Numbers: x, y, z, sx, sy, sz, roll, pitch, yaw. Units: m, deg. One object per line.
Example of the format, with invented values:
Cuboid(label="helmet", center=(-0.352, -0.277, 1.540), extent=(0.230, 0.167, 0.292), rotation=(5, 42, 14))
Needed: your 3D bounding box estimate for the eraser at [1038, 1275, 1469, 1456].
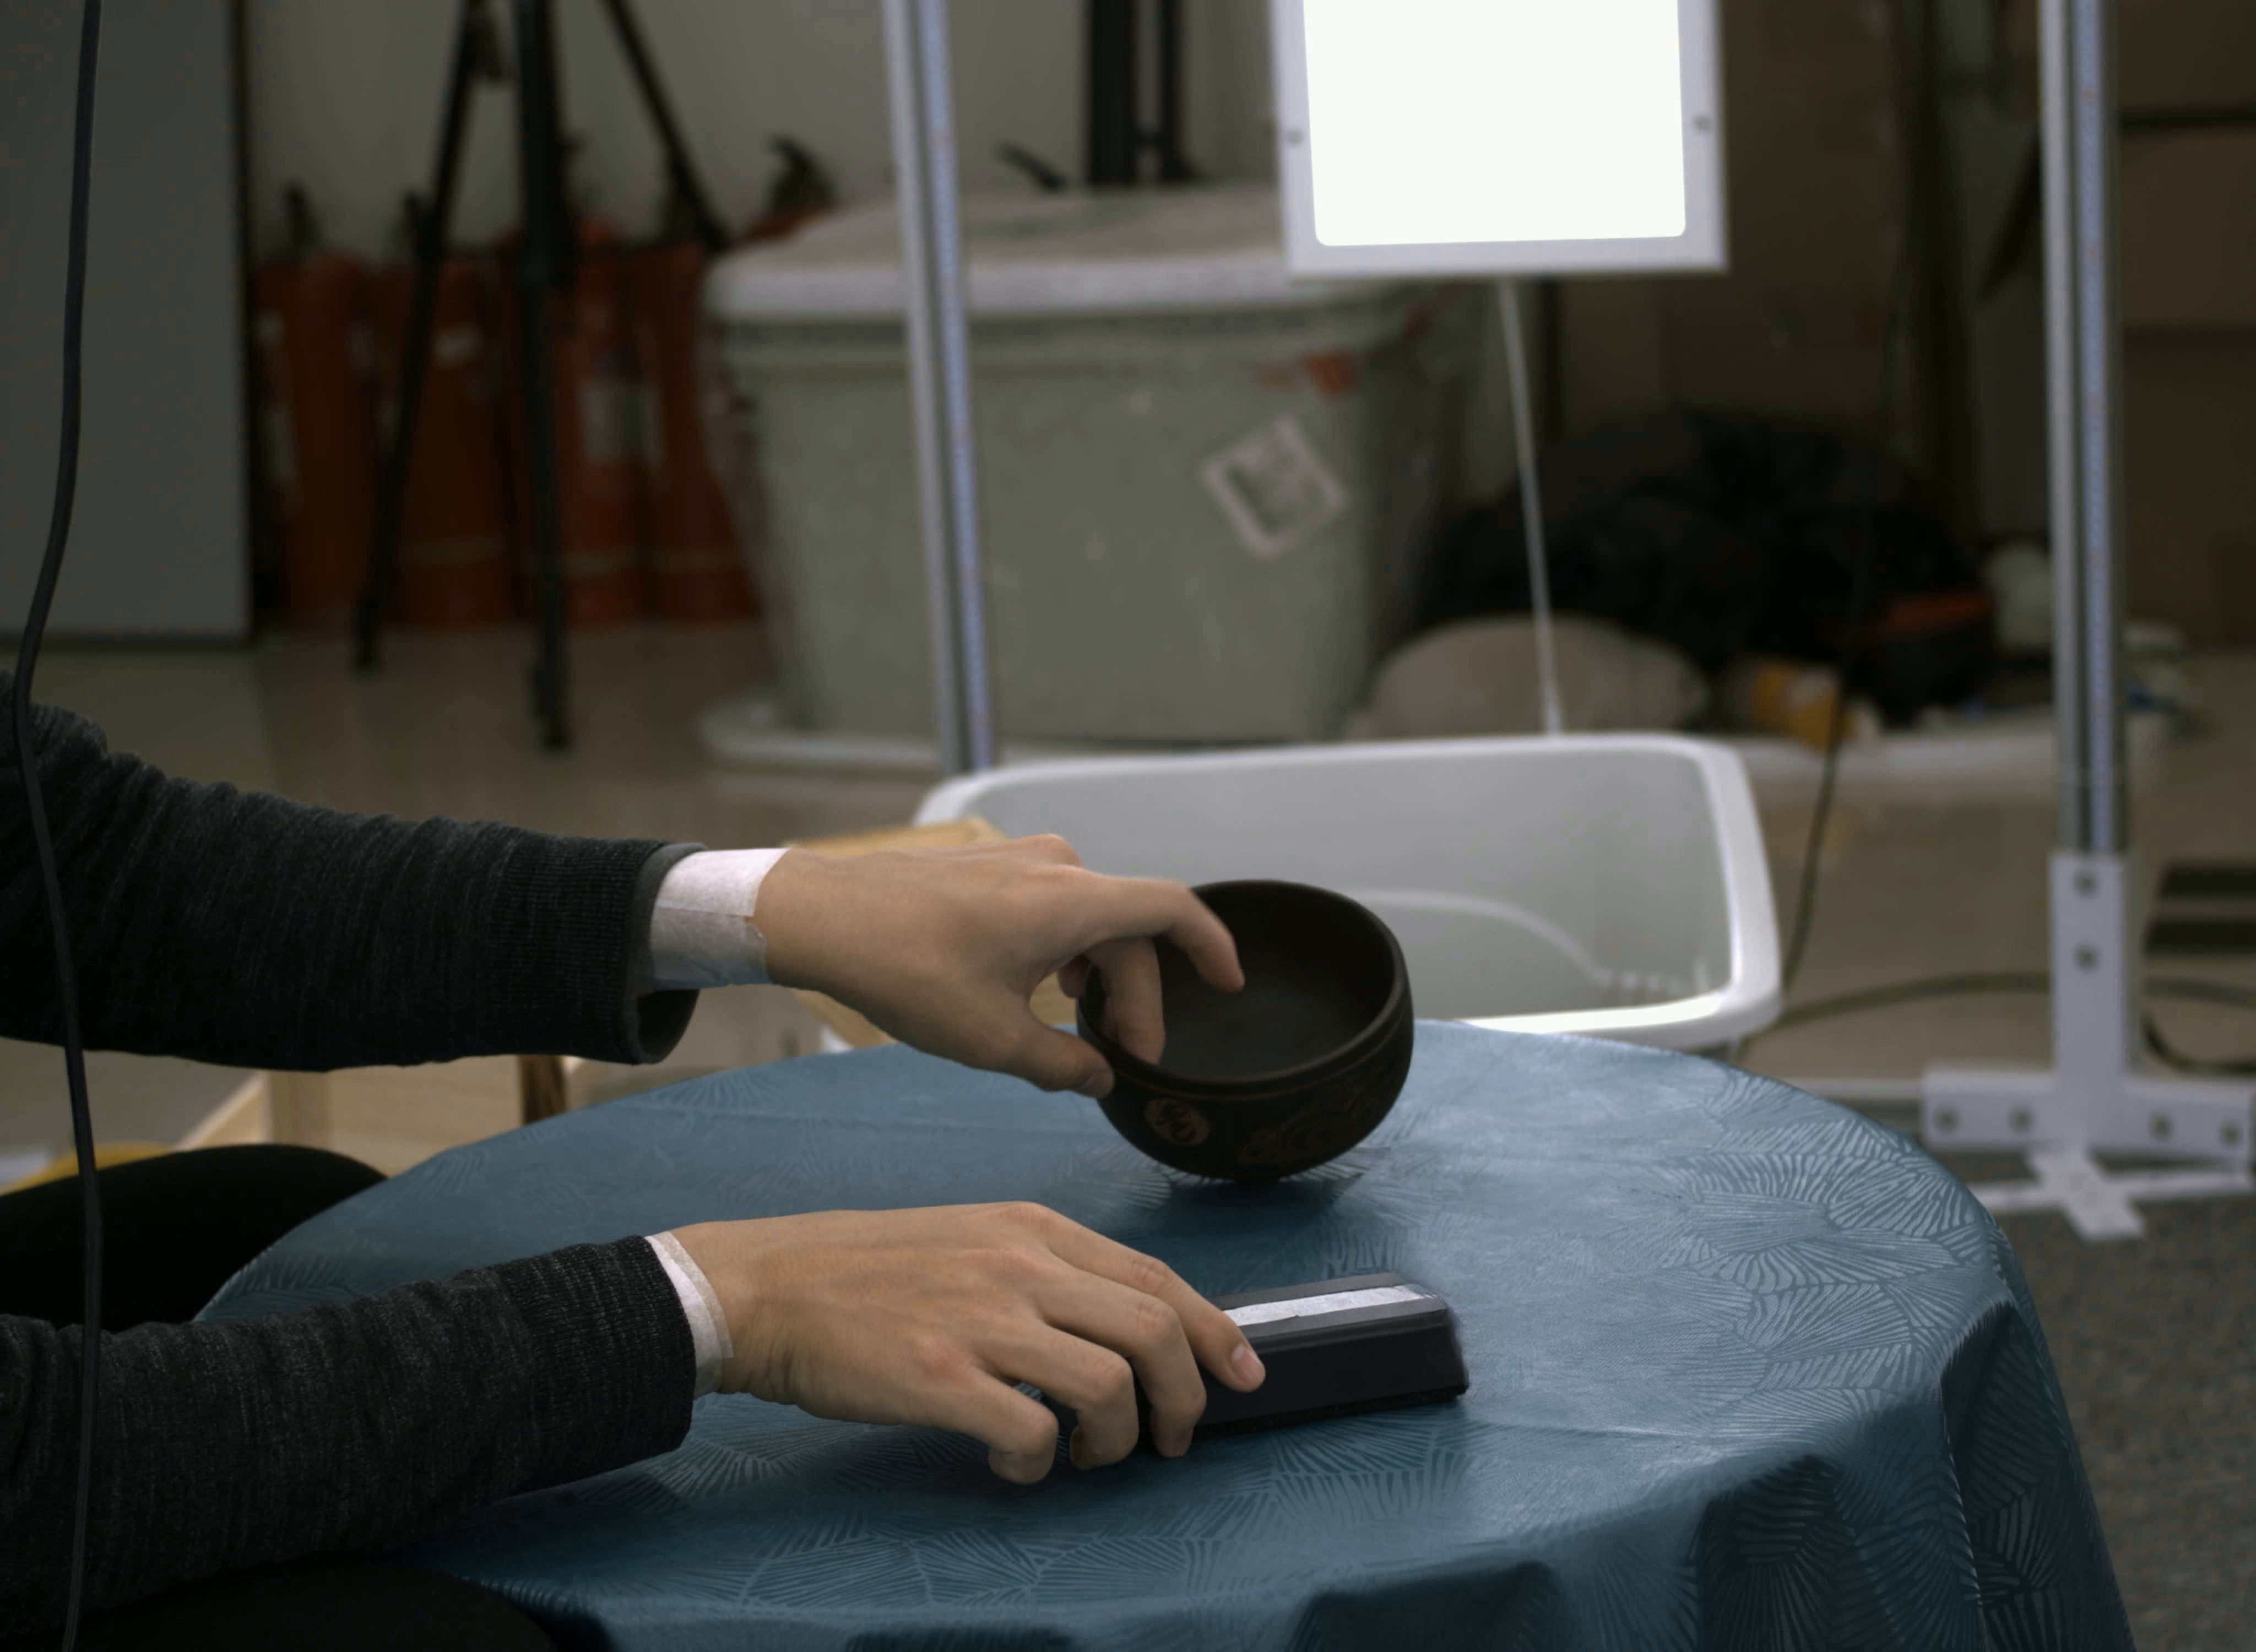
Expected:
Cuboid(label="eraser", center=(0.039, 0.163, 1.675), extent=(0.124, 0.030, 0.054), rotation=(-8, 11, -11))

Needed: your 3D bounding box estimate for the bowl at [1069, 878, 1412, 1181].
Cuboid(label="bowl", center=(0.041, 0.078, 1.901), extent=(0.118, 0.070, 0.117), rotation=(-7, 35, 3))
